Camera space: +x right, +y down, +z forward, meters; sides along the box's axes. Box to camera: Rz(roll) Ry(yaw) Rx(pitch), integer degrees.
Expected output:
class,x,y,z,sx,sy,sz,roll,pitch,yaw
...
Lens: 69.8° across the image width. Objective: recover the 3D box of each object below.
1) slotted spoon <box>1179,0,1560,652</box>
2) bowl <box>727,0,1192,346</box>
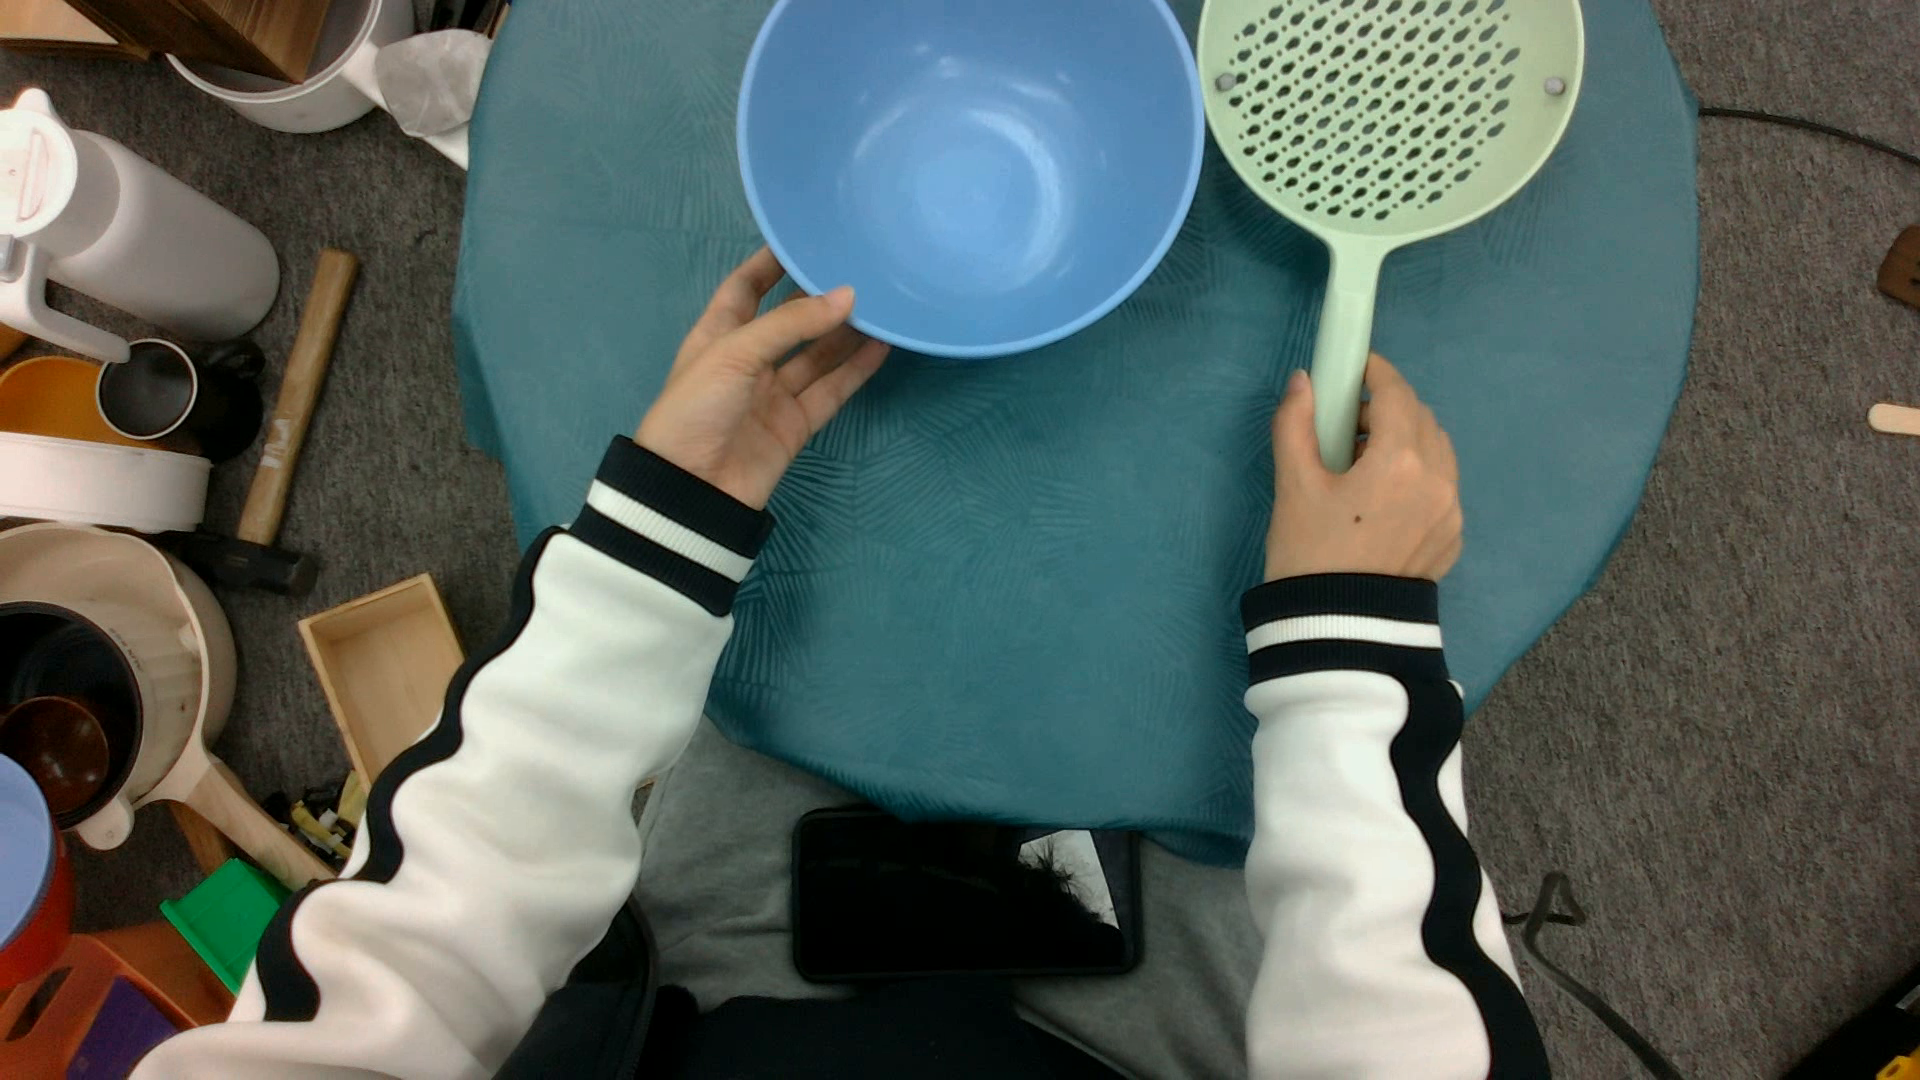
class,x,y,z,sx,sy,sz,roll,pitch,yaw
slotted spoon,0.171,-0.128,0.634,0.169,0.075,0.359,8,83,6
bowl,0.000,-0.174,0.625,0.196,0.095,0.196,0,84,0
